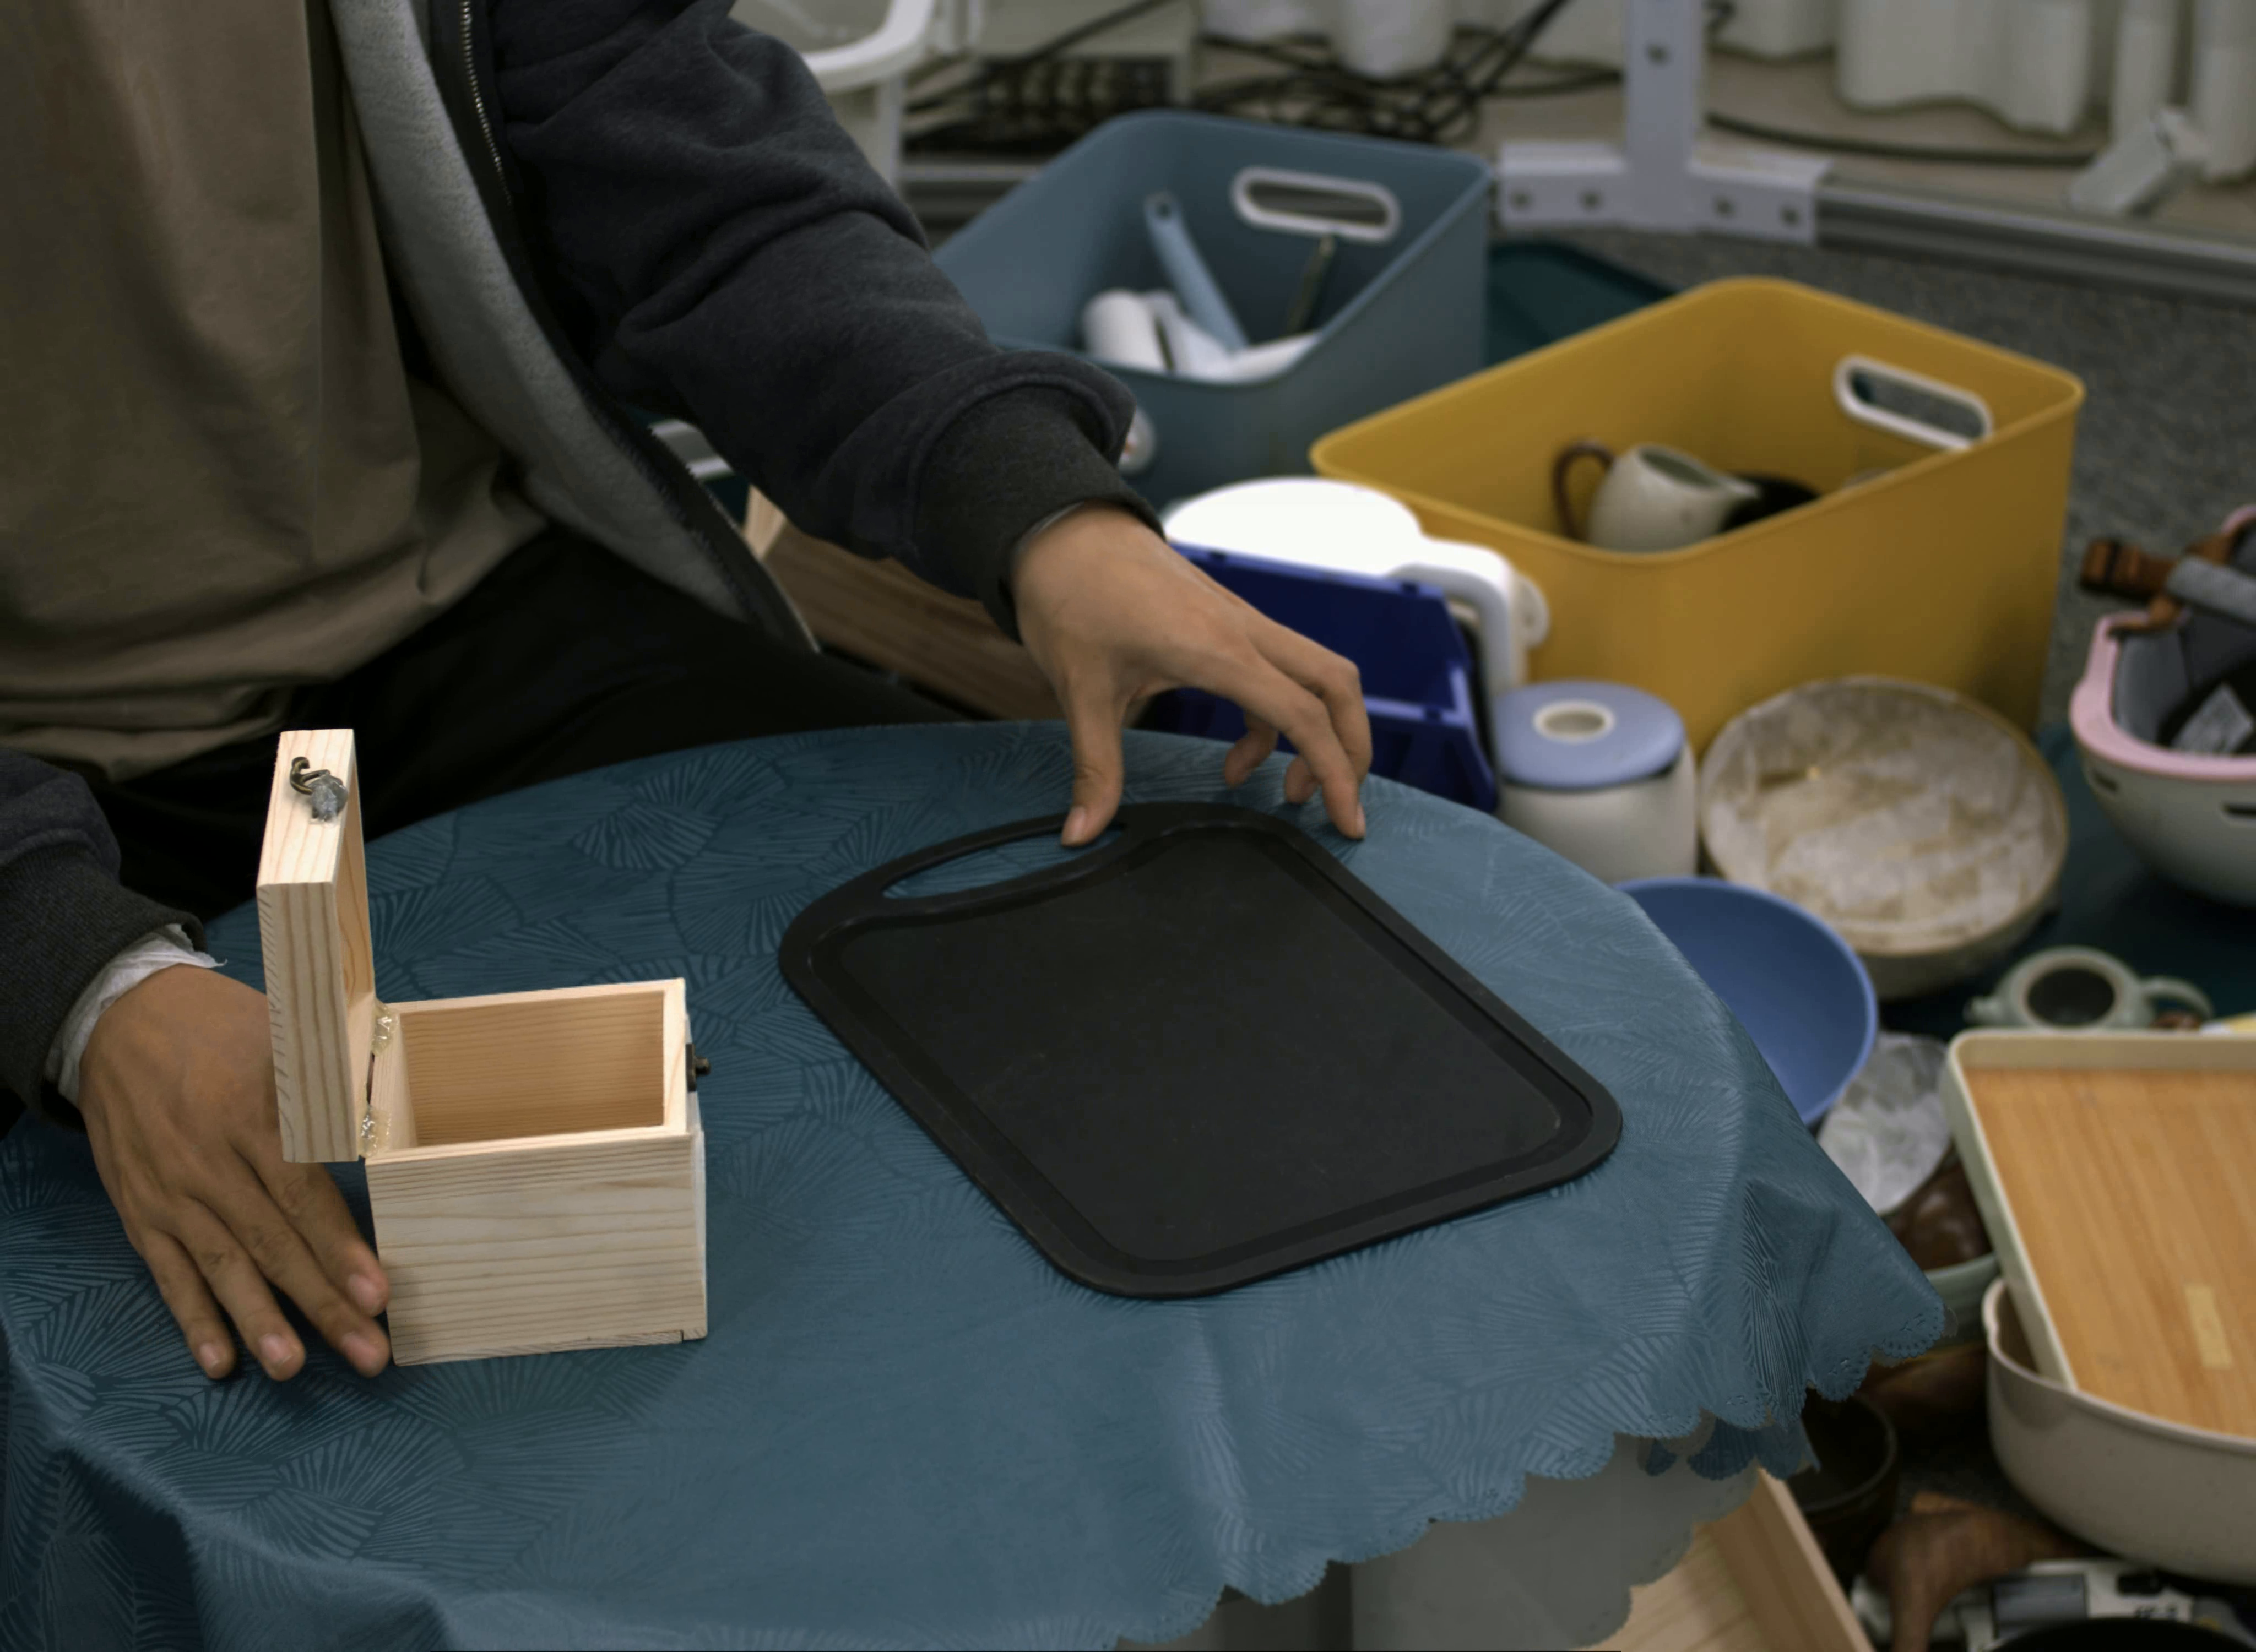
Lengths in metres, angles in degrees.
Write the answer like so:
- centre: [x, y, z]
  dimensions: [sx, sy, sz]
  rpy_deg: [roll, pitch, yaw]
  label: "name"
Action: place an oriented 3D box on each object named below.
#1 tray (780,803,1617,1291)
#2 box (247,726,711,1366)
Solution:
- centre: [0.014, 0.067, 1.958]
  dimensions: [0.212, 0.009, 0.327]
  rpy_deg: [-15, 30, -22]
  label: "tray"
- centre: [-0.202, 0.066, 1.793]
  dimensions: [0.133, 0.182, 0.104]
  rpy_deg: [-6, 27, -2]
  label: "box"
